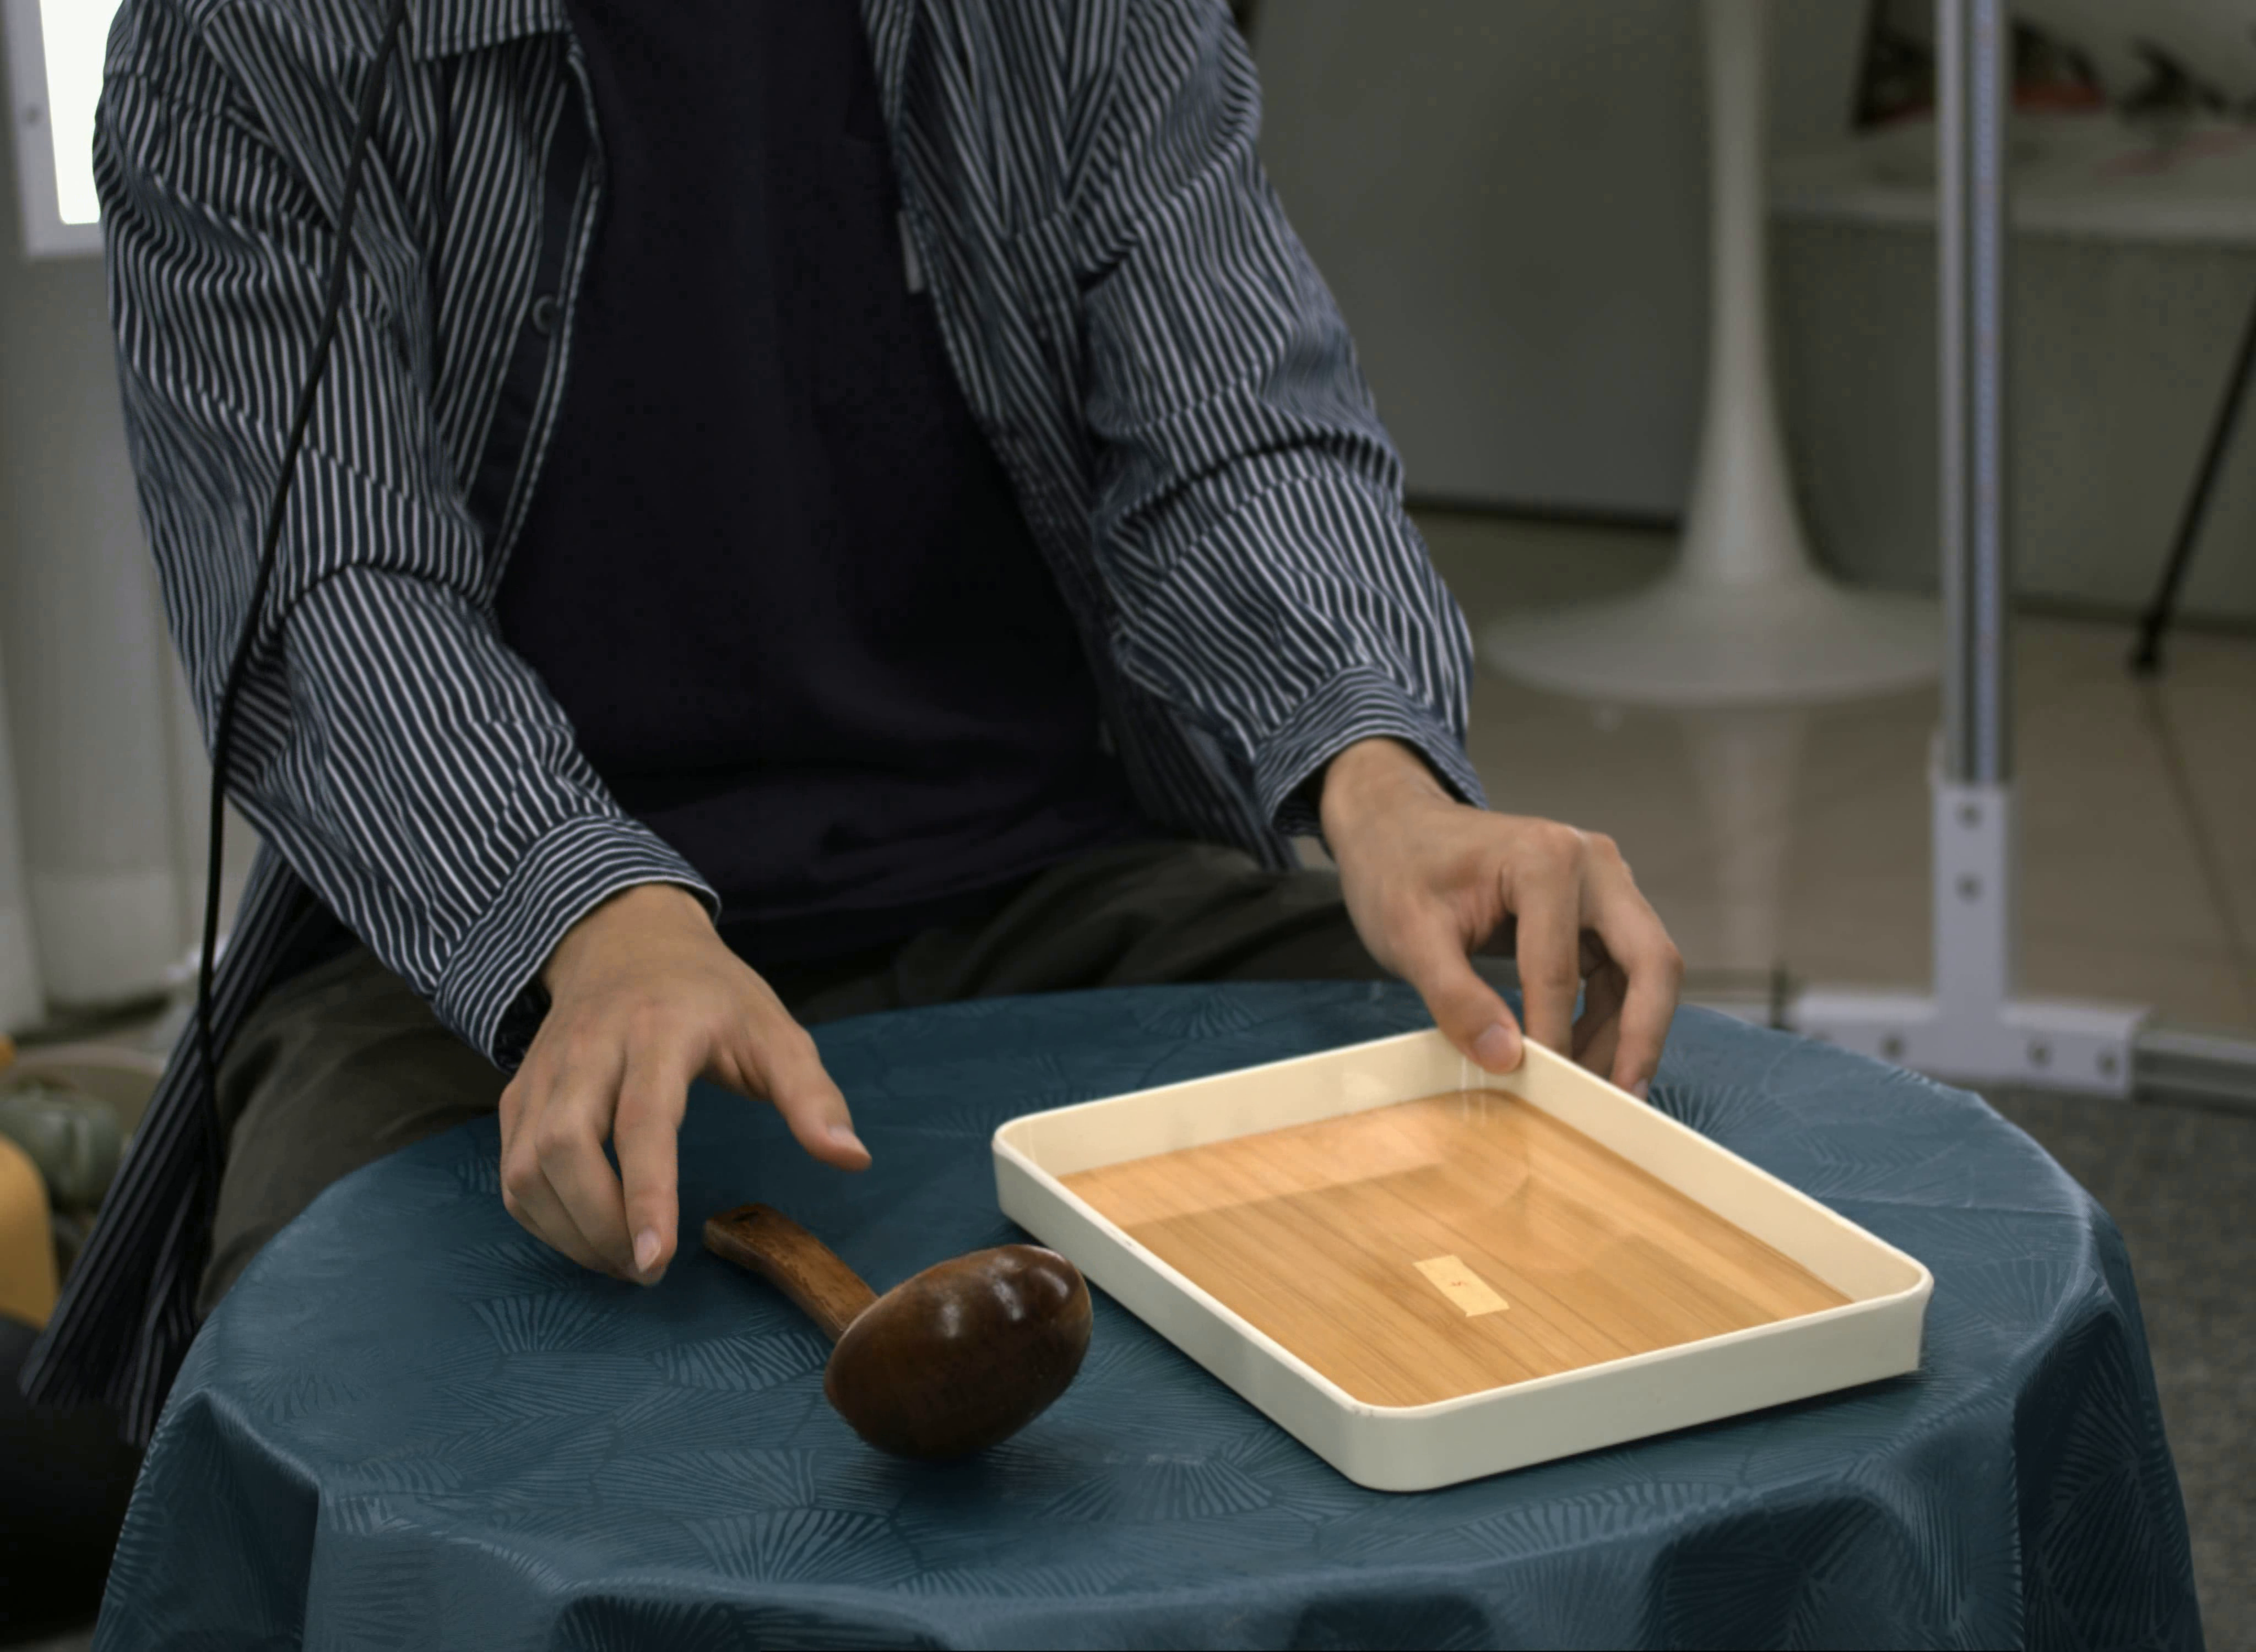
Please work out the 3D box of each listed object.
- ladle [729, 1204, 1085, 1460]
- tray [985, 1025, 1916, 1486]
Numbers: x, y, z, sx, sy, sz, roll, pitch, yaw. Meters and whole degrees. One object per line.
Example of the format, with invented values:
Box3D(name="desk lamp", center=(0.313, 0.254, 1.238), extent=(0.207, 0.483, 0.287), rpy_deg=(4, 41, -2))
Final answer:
Box3D(name="ladle", center=(-0.083, 0.126, 1.610), extent=(0.080, 0.077, 0.276), rpy_deg=(-12, 16, -16))
Box3D(name="tray", center=(0.092, 0.126, 1.651), extent=(0.188, 0.028, 0.303), rpy_deg=(-11, 16, -20))
